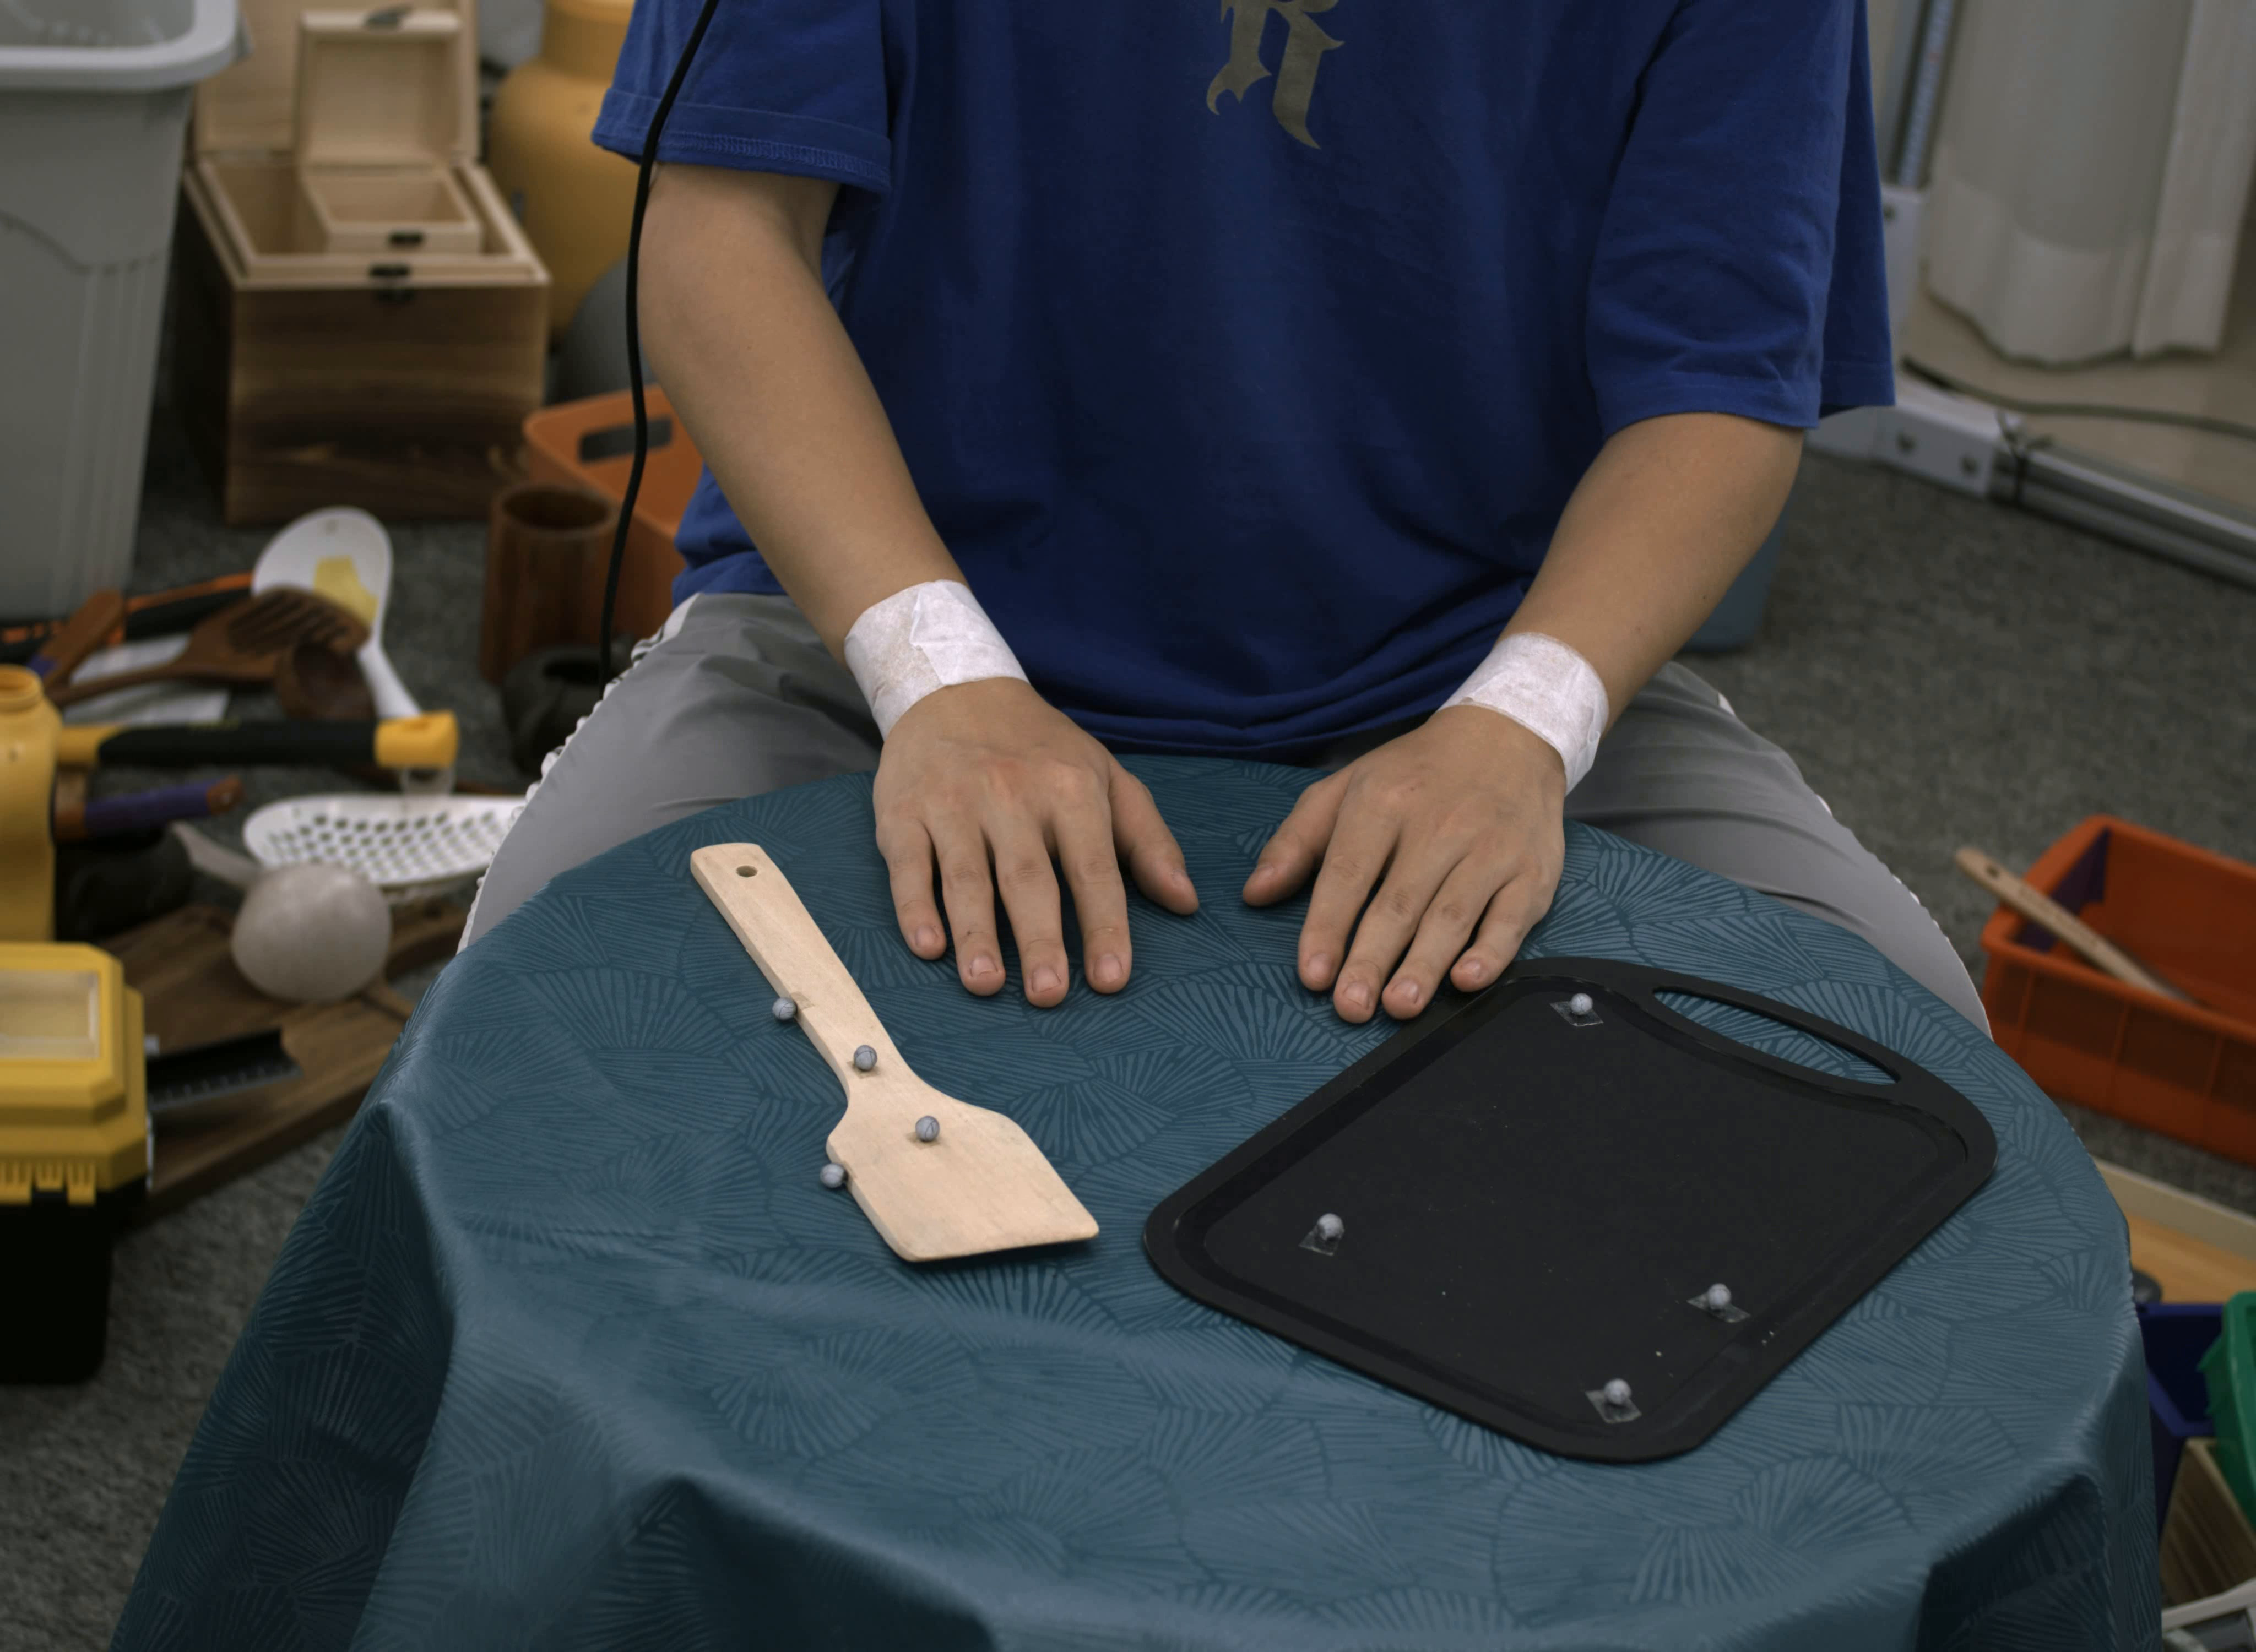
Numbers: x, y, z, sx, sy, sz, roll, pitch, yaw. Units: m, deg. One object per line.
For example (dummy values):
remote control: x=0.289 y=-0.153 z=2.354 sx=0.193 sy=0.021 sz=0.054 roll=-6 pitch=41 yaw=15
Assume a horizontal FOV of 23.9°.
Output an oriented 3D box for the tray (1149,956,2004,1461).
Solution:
tray: x=0.163 y=0.121 z=1.839 sx=0.212 sy=0.010 sz=0.324 roll=22 pitch=30 yaw=27

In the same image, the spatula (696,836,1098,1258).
spatula: x=-0.096 y=0.074 z=1.870 sx=0.072 sy=0.010 sz=0.296 roll=-7 pitch=30 yaw=-22
